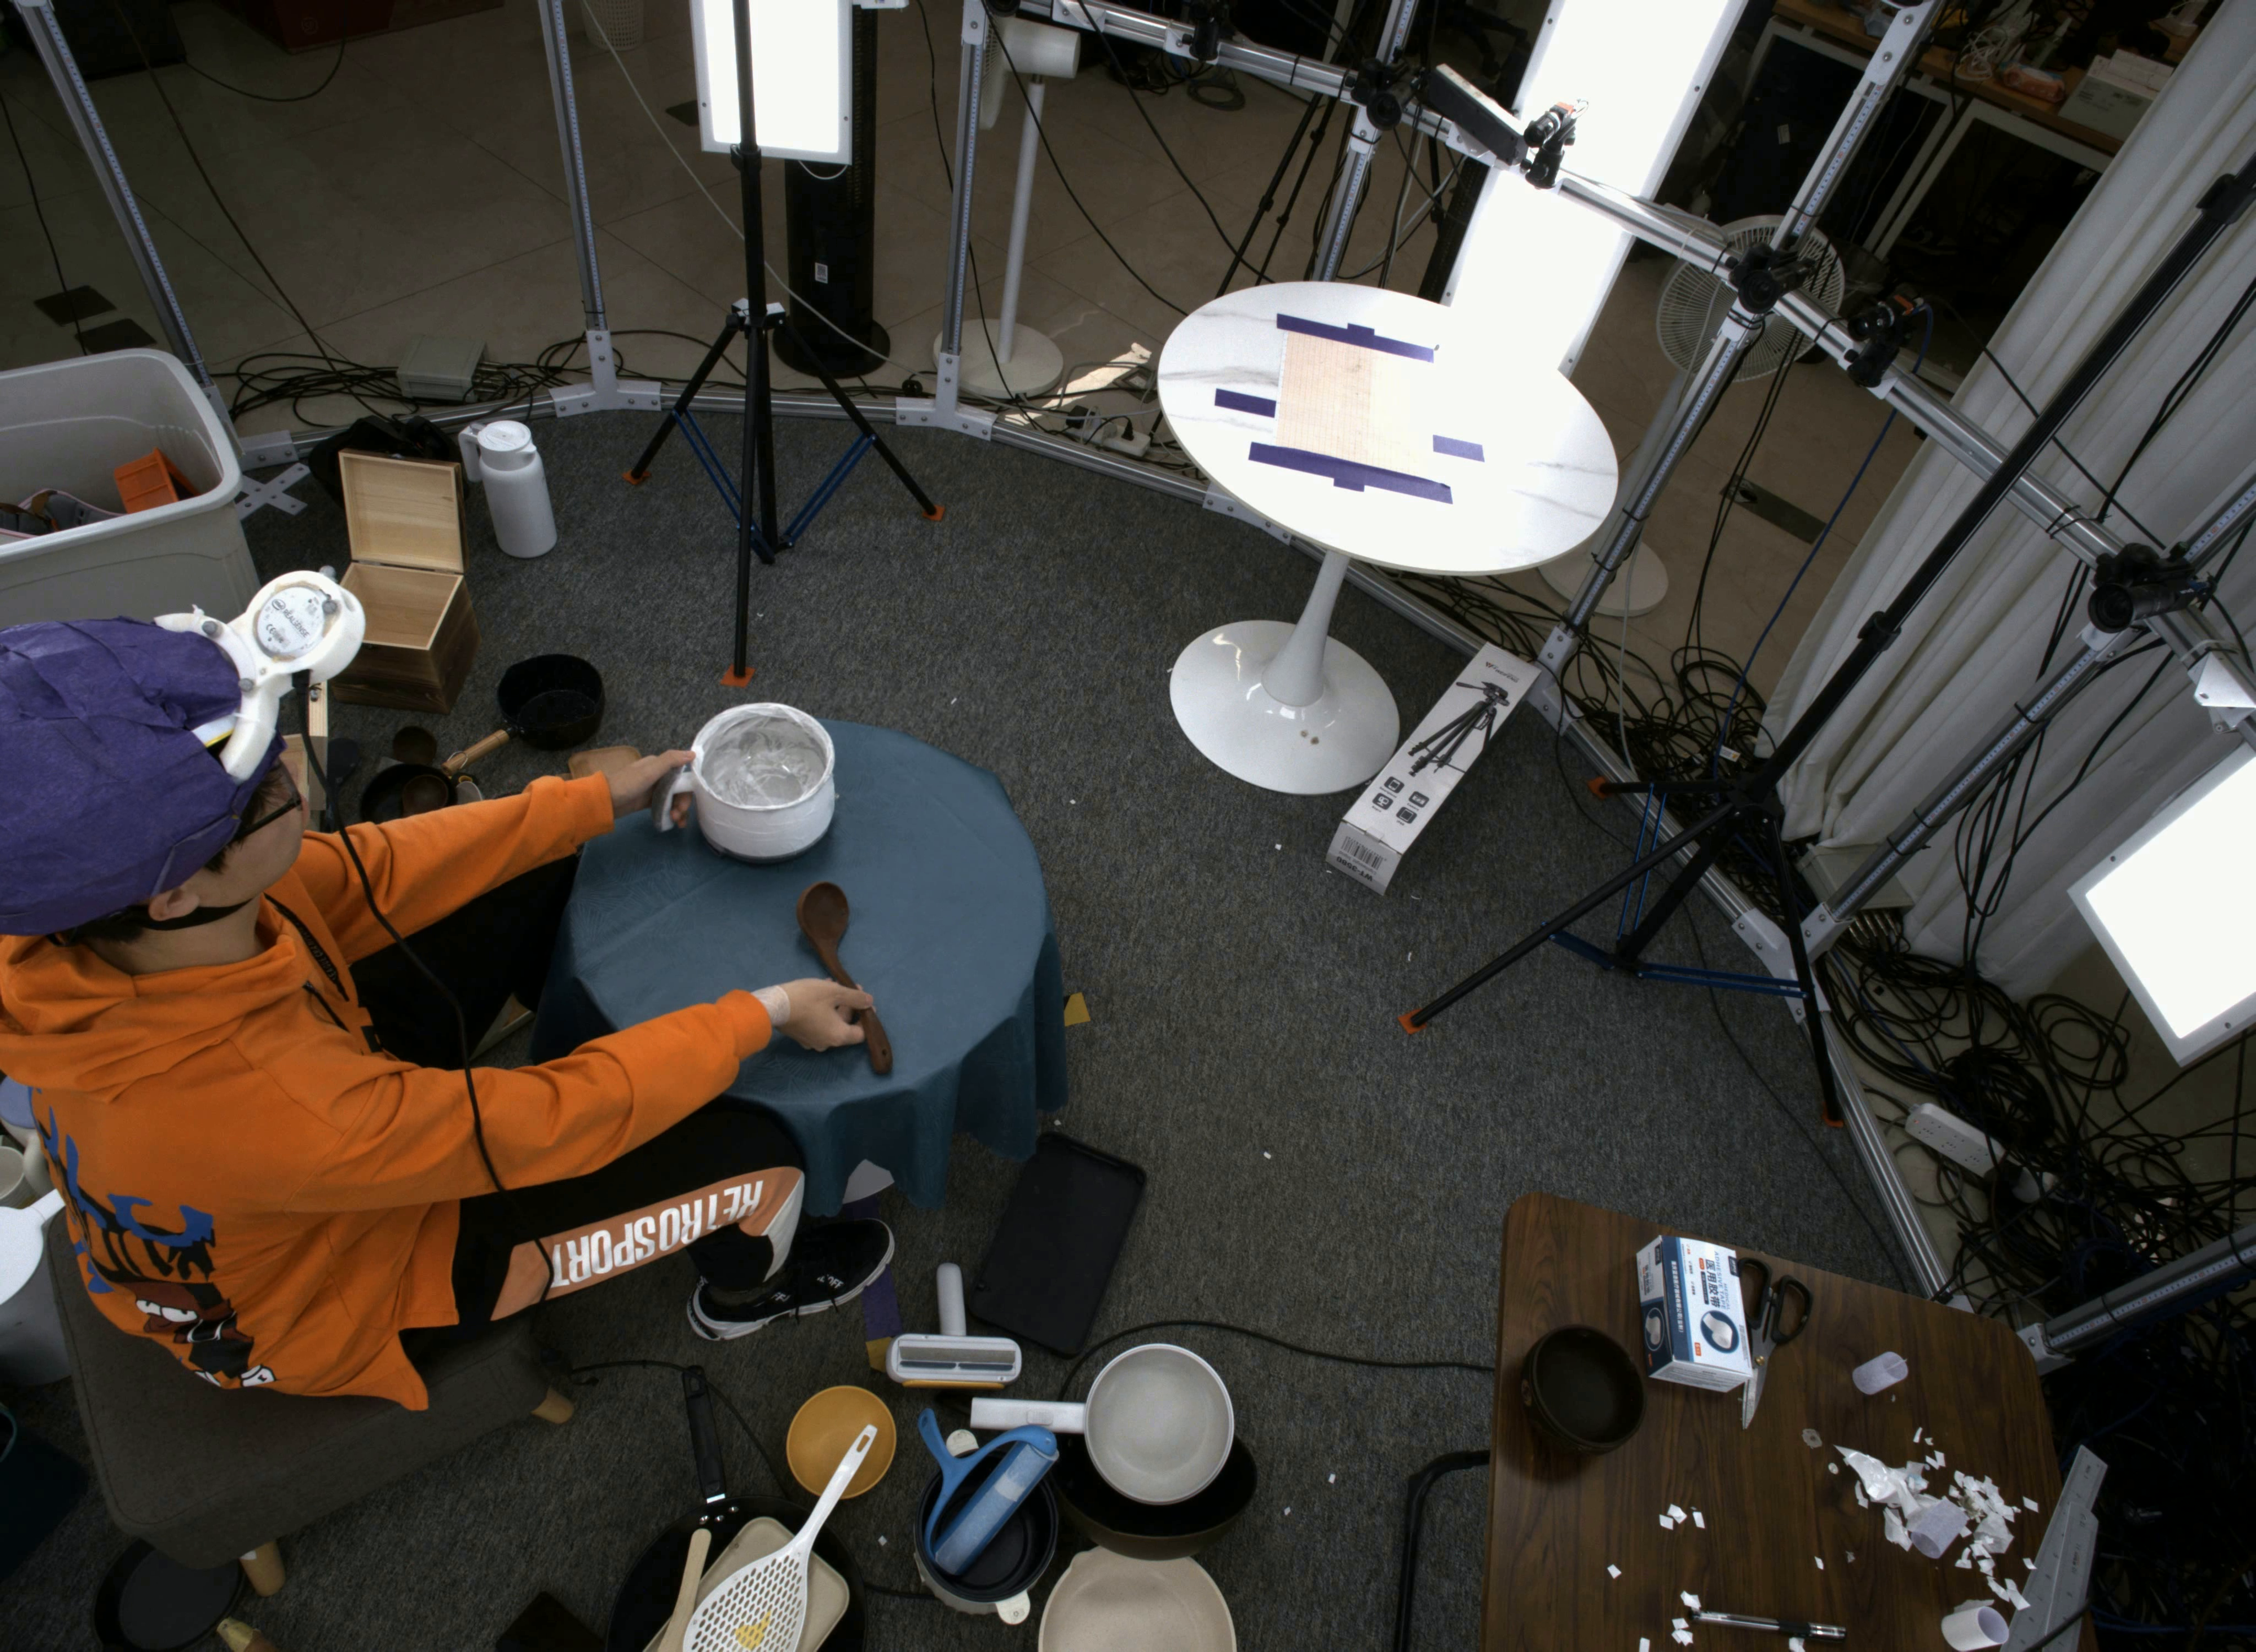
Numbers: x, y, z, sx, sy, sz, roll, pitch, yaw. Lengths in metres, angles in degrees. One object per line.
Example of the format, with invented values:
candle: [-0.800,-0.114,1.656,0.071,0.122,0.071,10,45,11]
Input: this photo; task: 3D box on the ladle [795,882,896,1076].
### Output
ladle: [-0.331,0.177,1.566,0.078,0.065,0.253,0,48,-49]

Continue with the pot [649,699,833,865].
pot: [-0.493,-0.048,1.642,0.235,0.139,0.174,-10,55,-21]
